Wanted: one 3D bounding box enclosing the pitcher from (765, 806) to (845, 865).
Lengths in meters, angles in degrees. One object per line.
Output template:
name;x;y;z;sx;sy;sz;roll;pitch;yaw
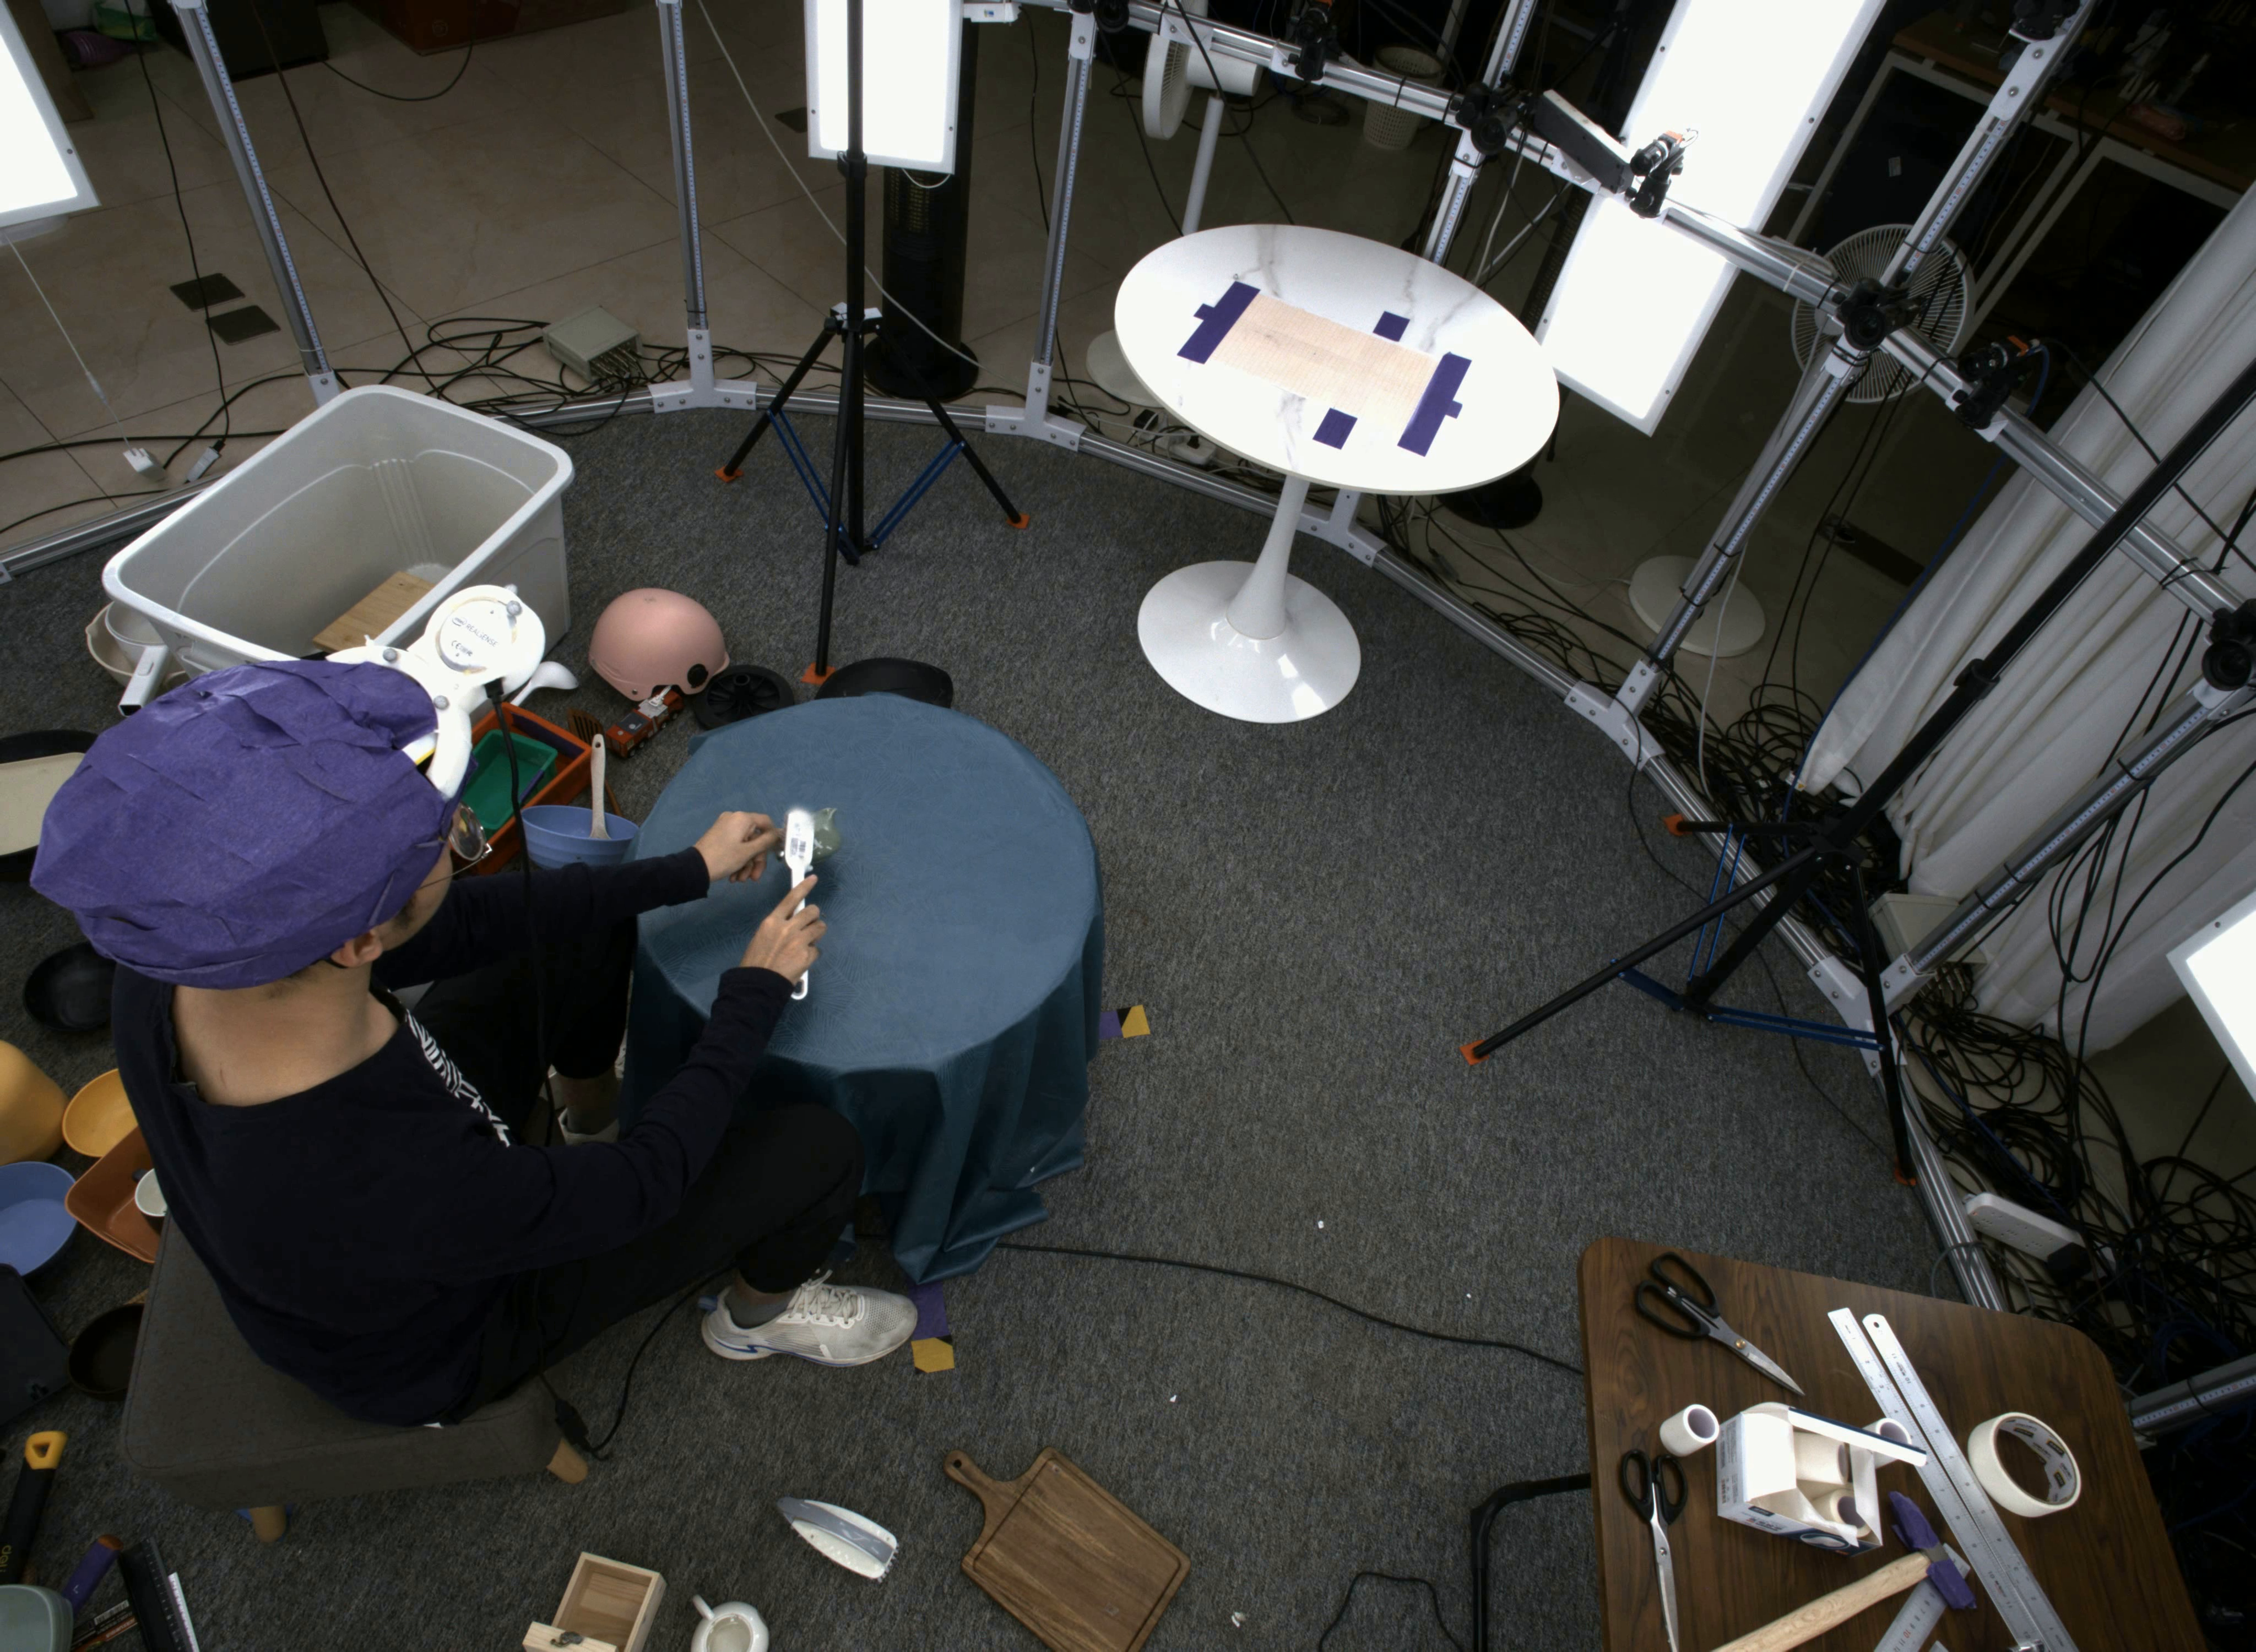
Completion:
pitcher;-0.408;0.016;1.637;0.081;0.058;0.113;3;19;37

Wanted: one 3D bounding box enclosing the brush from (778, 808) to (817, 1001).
brush;-0.398;0.091;1.564;0.035;0.049;0.243;4;72;-33
